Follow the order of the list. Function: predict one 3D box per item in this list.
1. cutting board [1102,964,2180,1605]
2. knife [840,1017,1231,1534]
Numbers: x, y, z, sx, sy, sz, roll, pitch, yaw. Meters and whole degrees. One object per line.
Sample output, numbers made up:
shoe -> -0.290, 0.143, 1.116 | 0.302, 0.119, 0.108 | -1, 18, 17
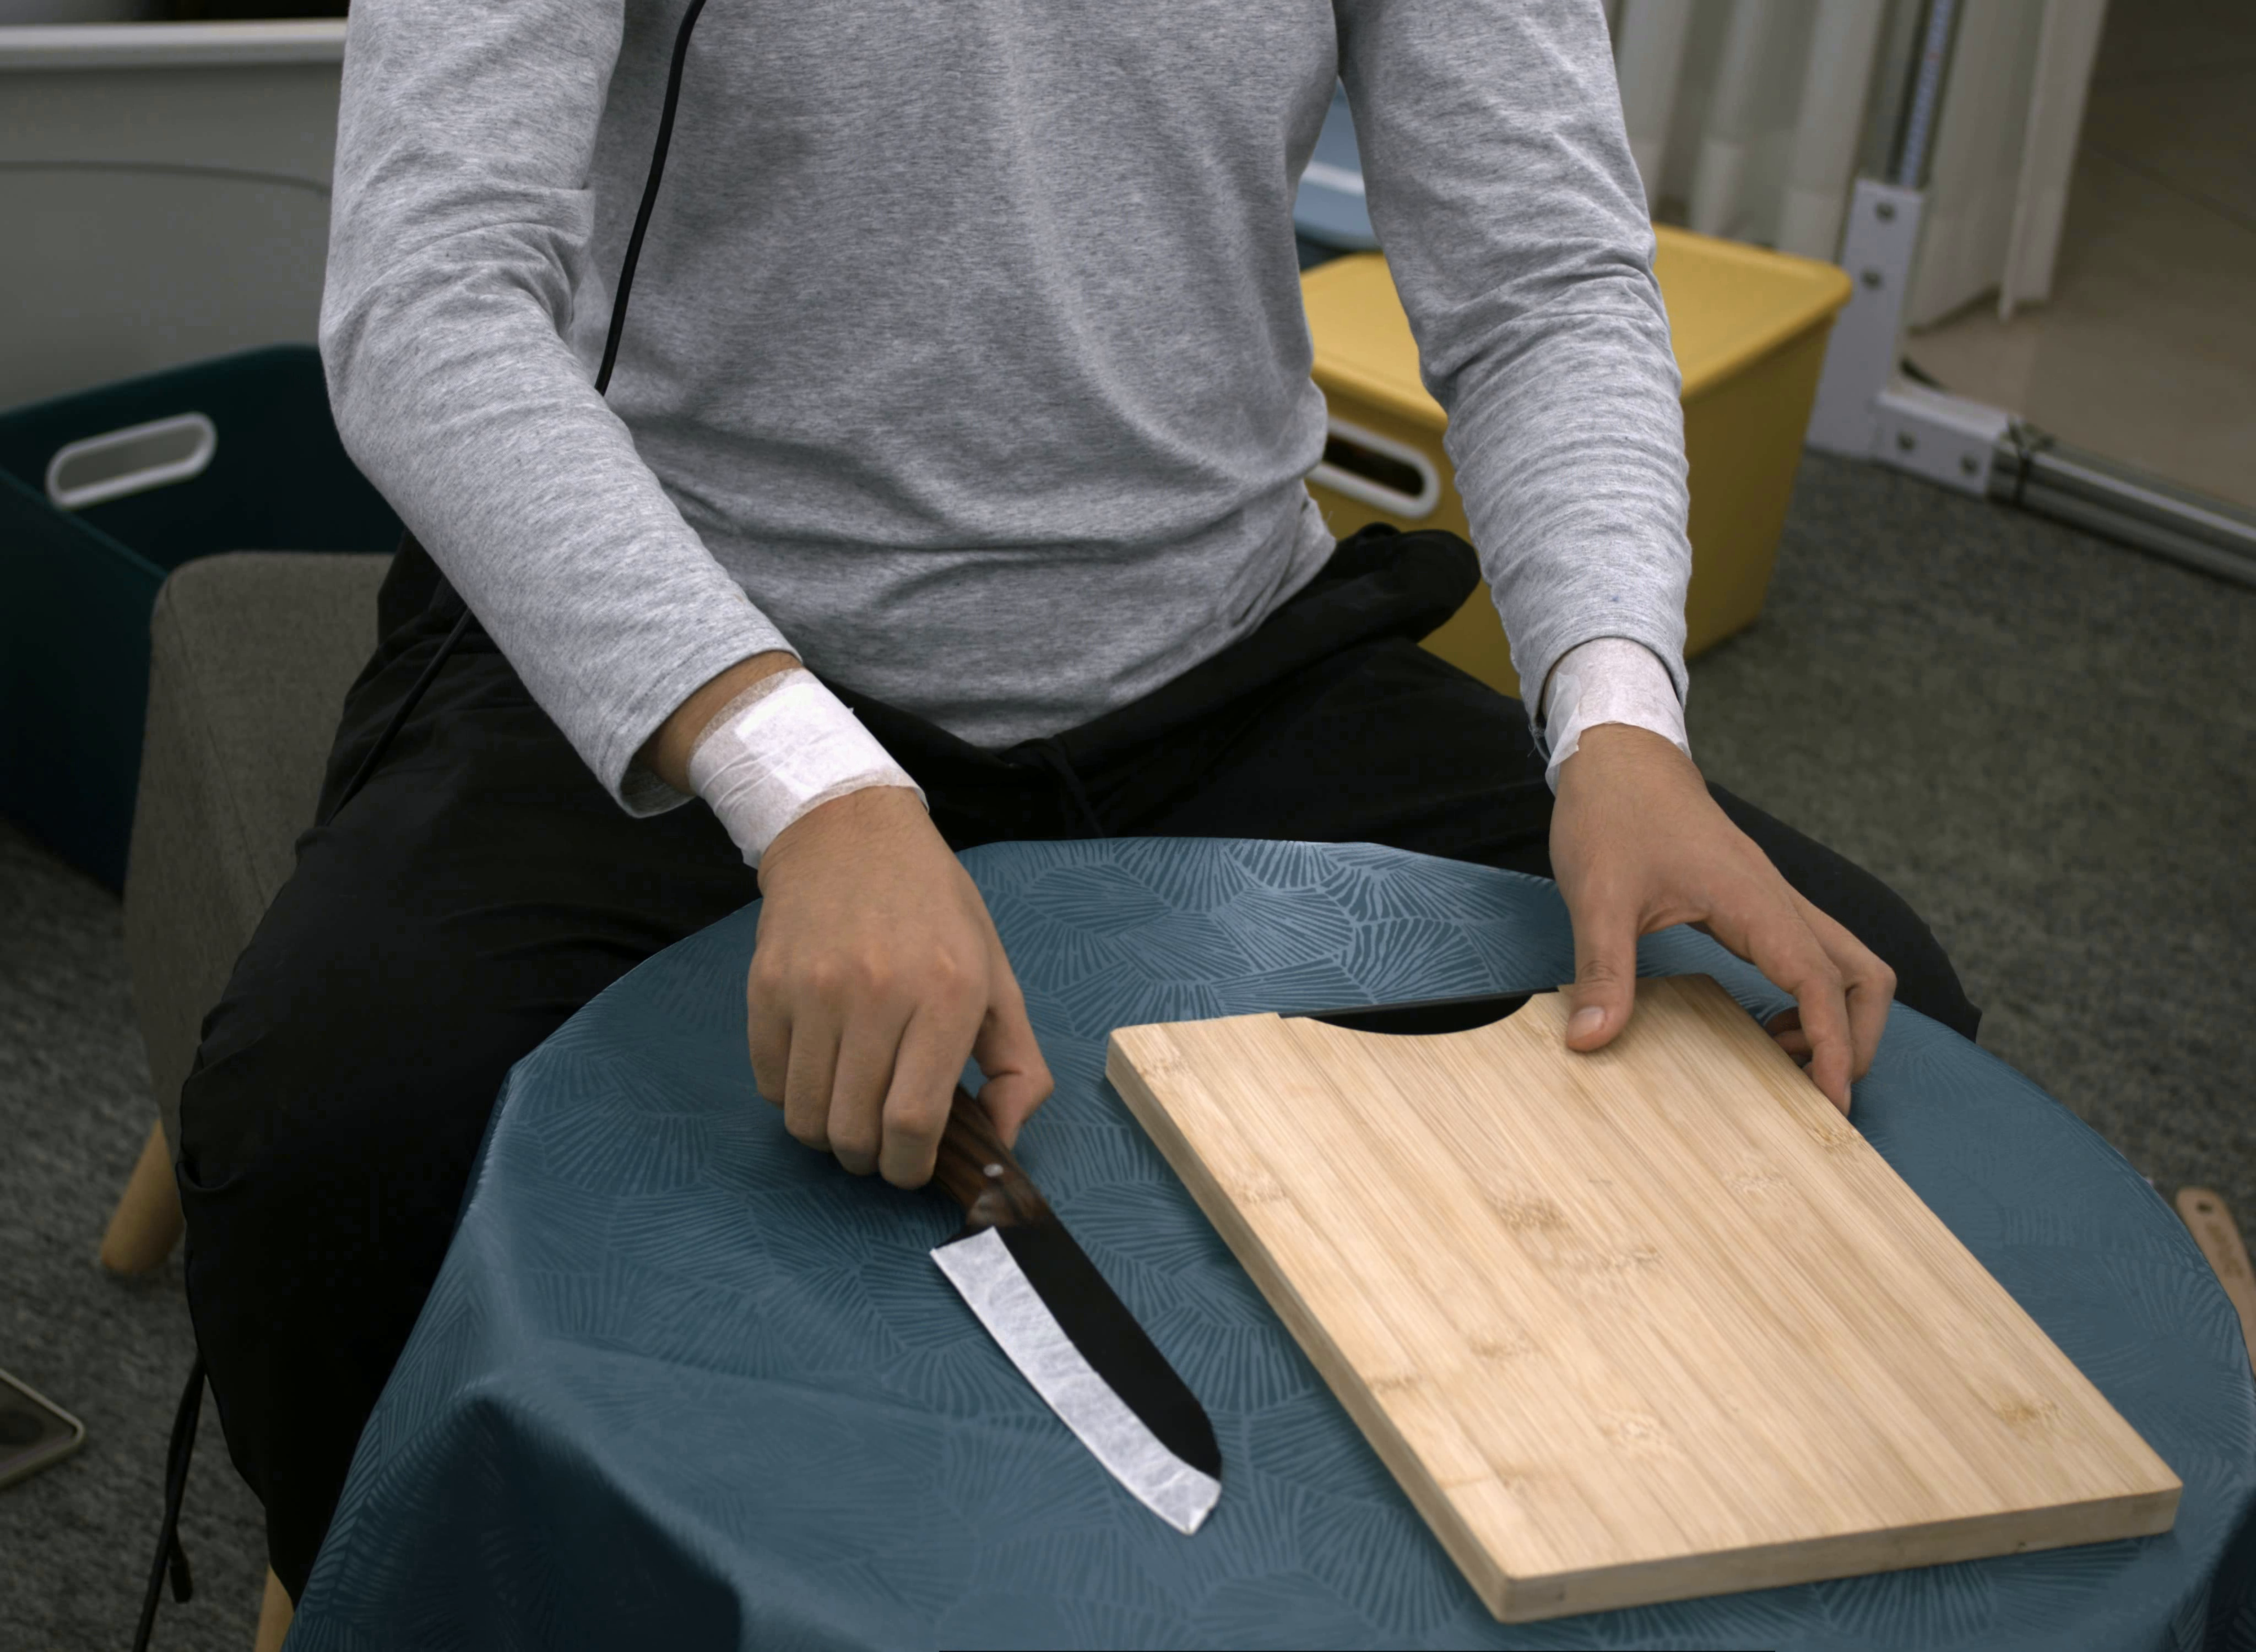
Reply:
cutting board -> 0.161, 0.146, 1.781 | 0.249, 0.023, 0.352 | -4, 29, -22
knife -> -0.034, 0.145, 1.738 | 0.050, 0.020, 0.292 | -17, 36, -17
